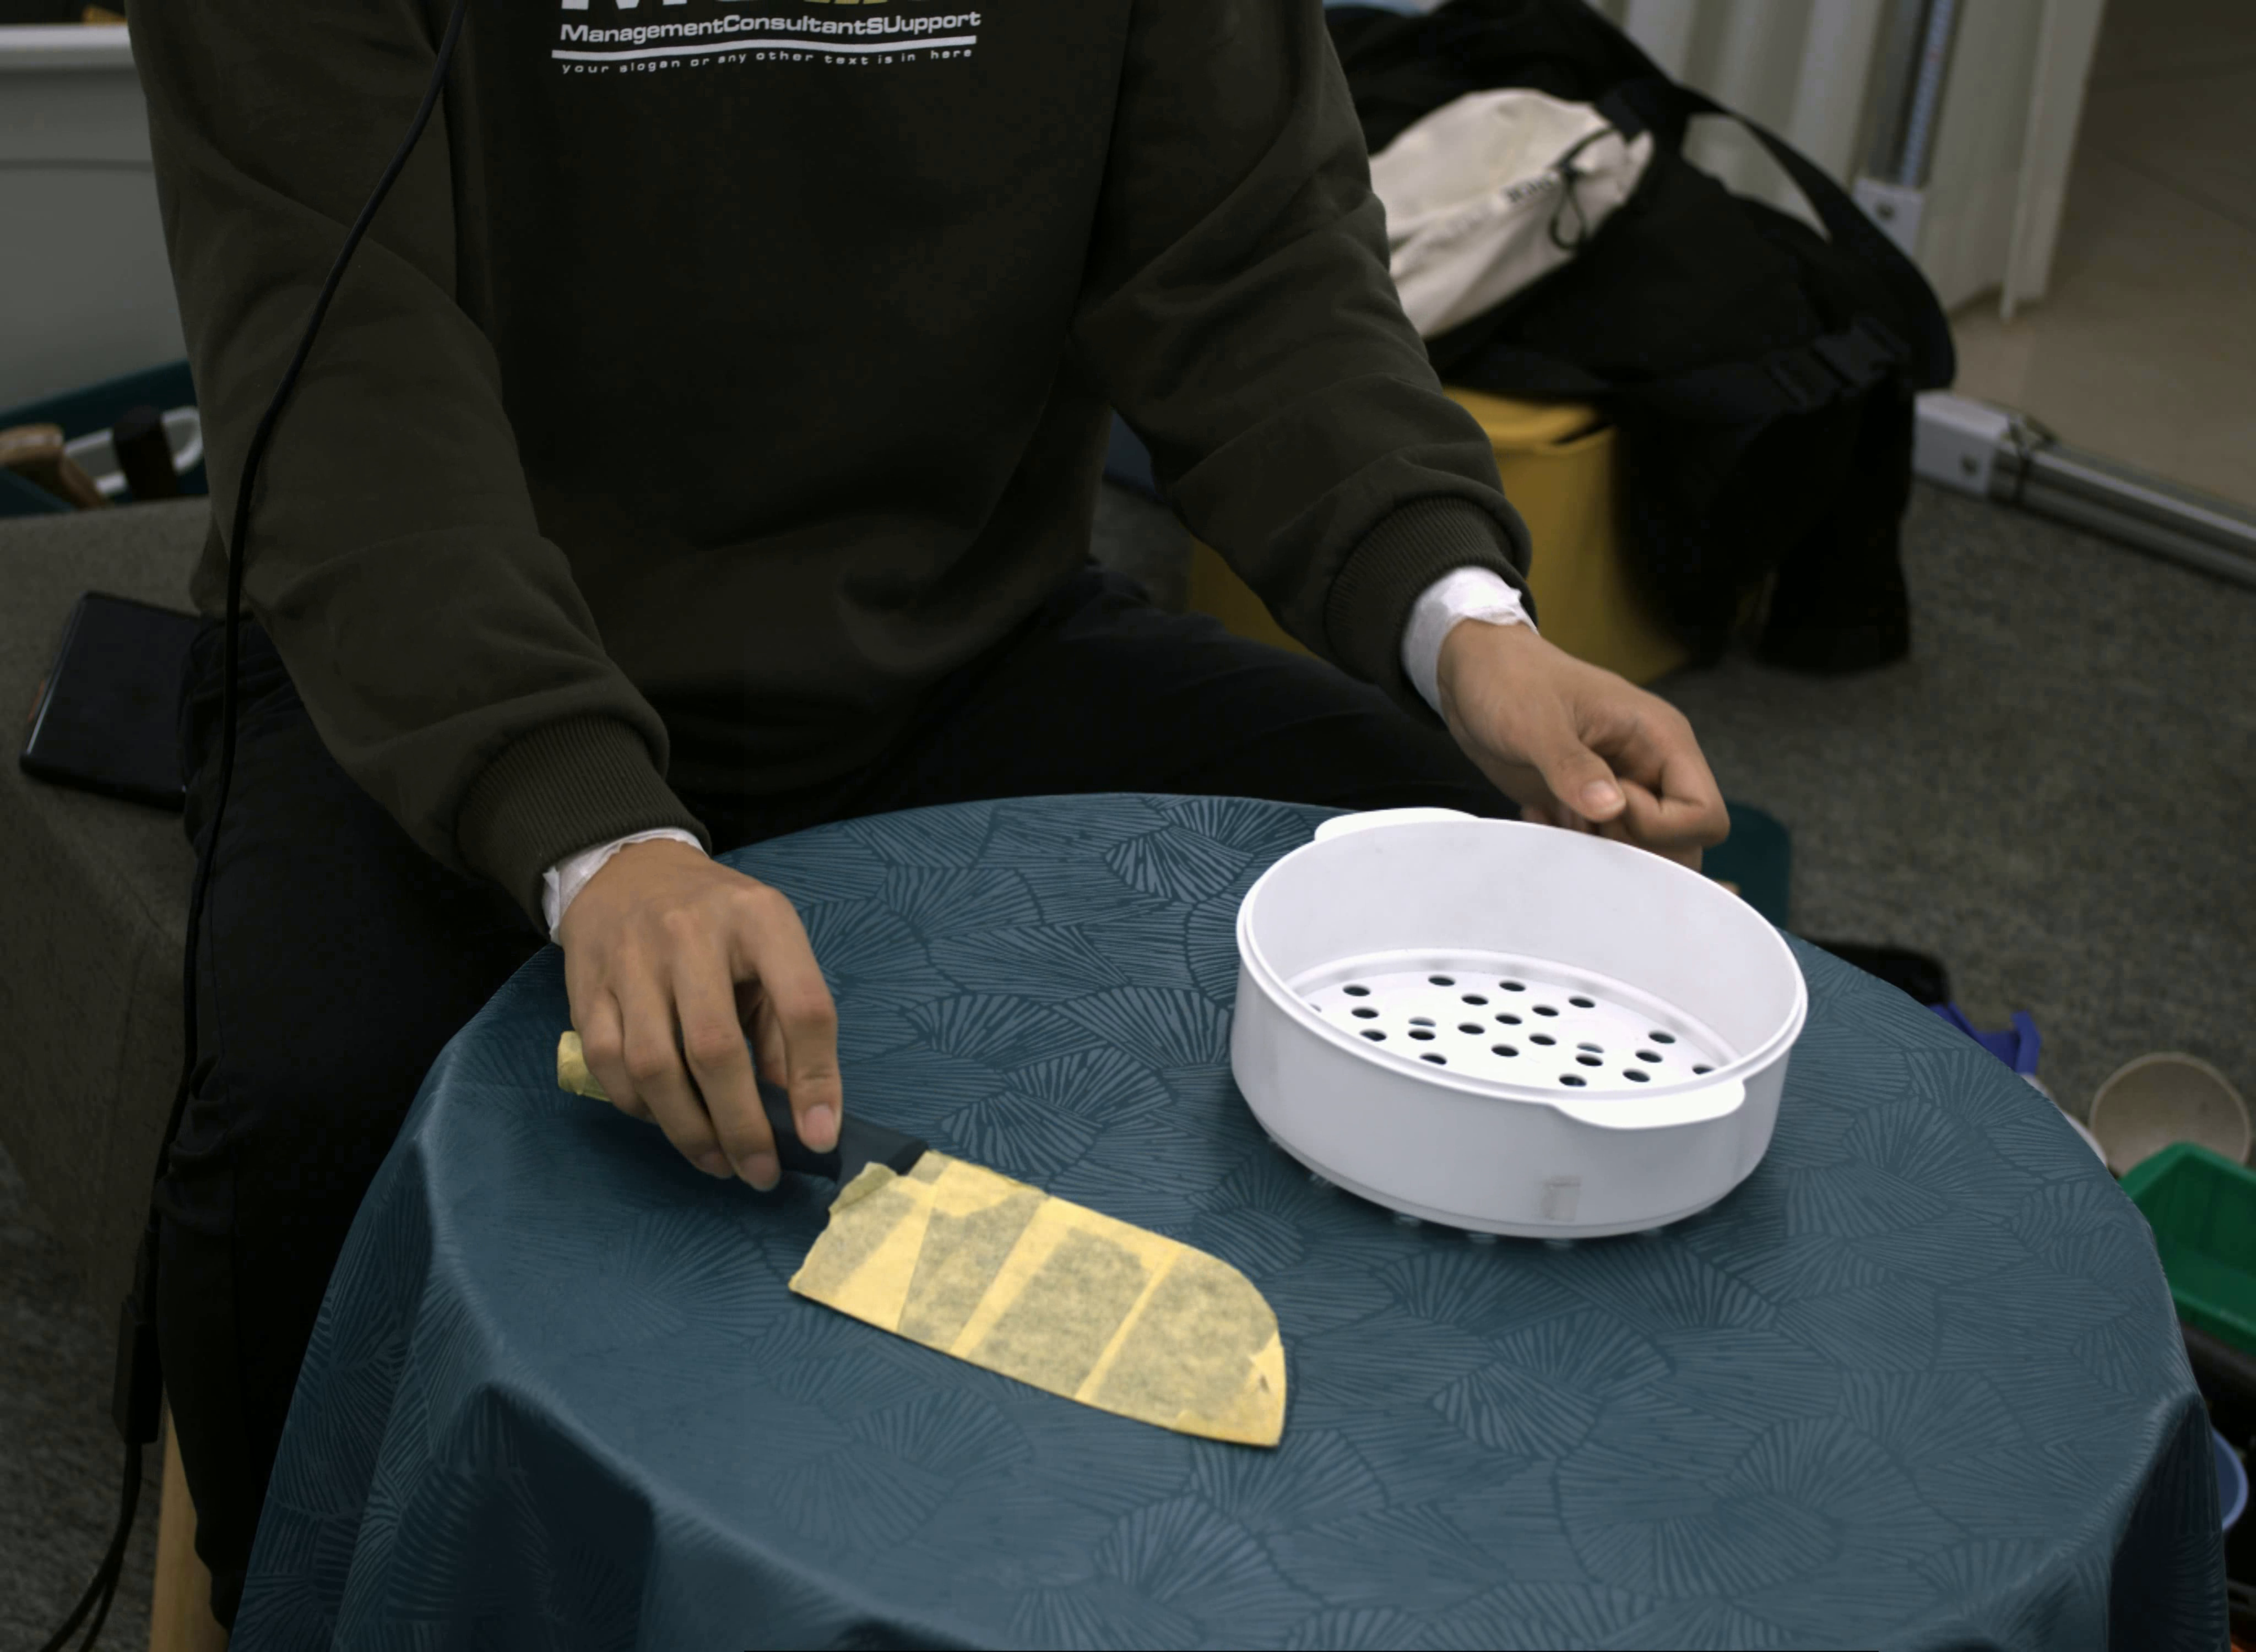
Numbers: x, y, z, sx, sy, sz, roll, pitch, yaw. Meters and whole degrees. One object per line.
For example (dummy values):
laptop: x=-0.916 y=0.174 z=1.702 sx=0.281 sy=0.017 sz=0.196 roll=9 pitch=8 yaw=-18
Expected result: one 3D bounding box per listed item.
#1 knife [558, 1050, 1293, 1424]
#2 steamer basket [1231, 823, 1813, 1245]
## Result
knife: x=-0.073 y=0.133 z=1.737 sx=0.291 sy=0.027 sz=0.081 roll=20 pitch=49 yaw=25
steamer basket: x=0.135 y=0.074 z=1.861 sx=0.200 sy=0.069 sz=0.232 roll=-4 pitch=27 yaw=-23
